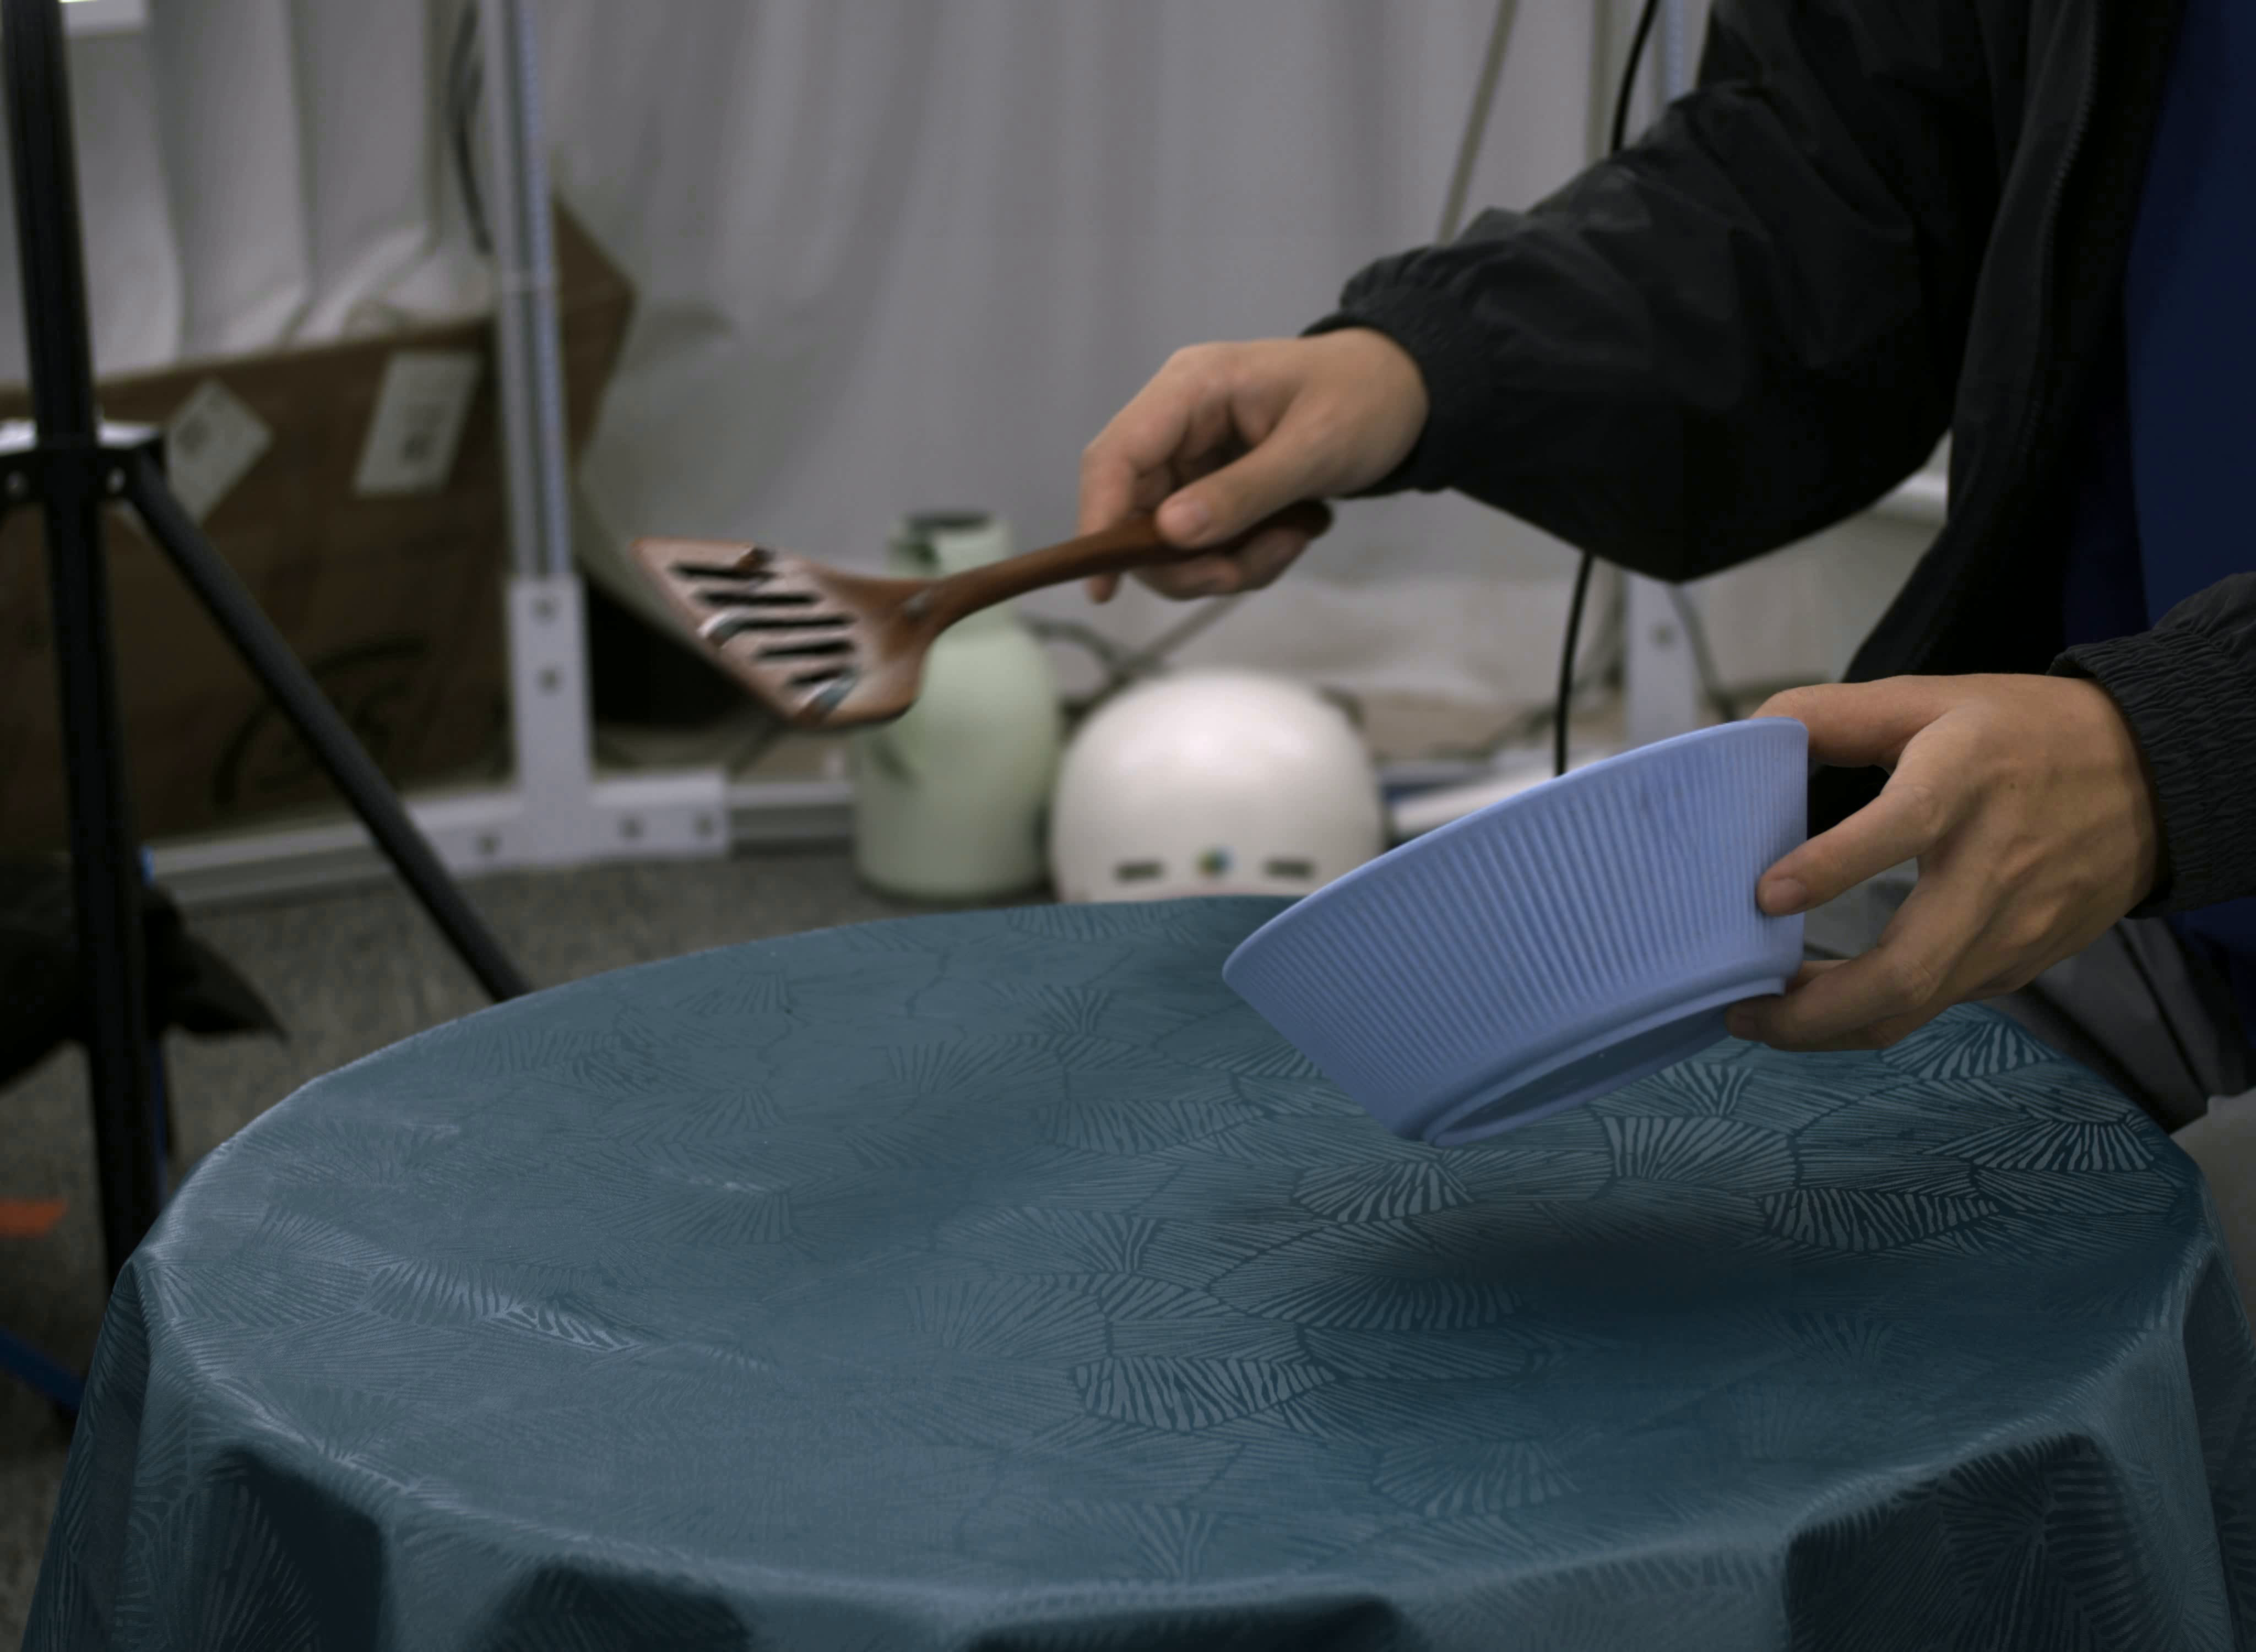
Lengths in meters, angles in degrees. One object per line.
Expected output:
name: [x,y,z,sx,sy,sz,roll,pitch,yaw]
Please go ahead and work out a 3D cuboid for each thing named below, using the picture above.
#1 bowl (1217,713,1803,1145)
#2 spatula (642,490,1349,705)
bowl: [0.117,0.036,1.464,0.175,0.071,0.175,-20,-12,-6]
spatula: [-0.028,-0.083,1.734,0.087,0.024,0.378,43,28,20]
